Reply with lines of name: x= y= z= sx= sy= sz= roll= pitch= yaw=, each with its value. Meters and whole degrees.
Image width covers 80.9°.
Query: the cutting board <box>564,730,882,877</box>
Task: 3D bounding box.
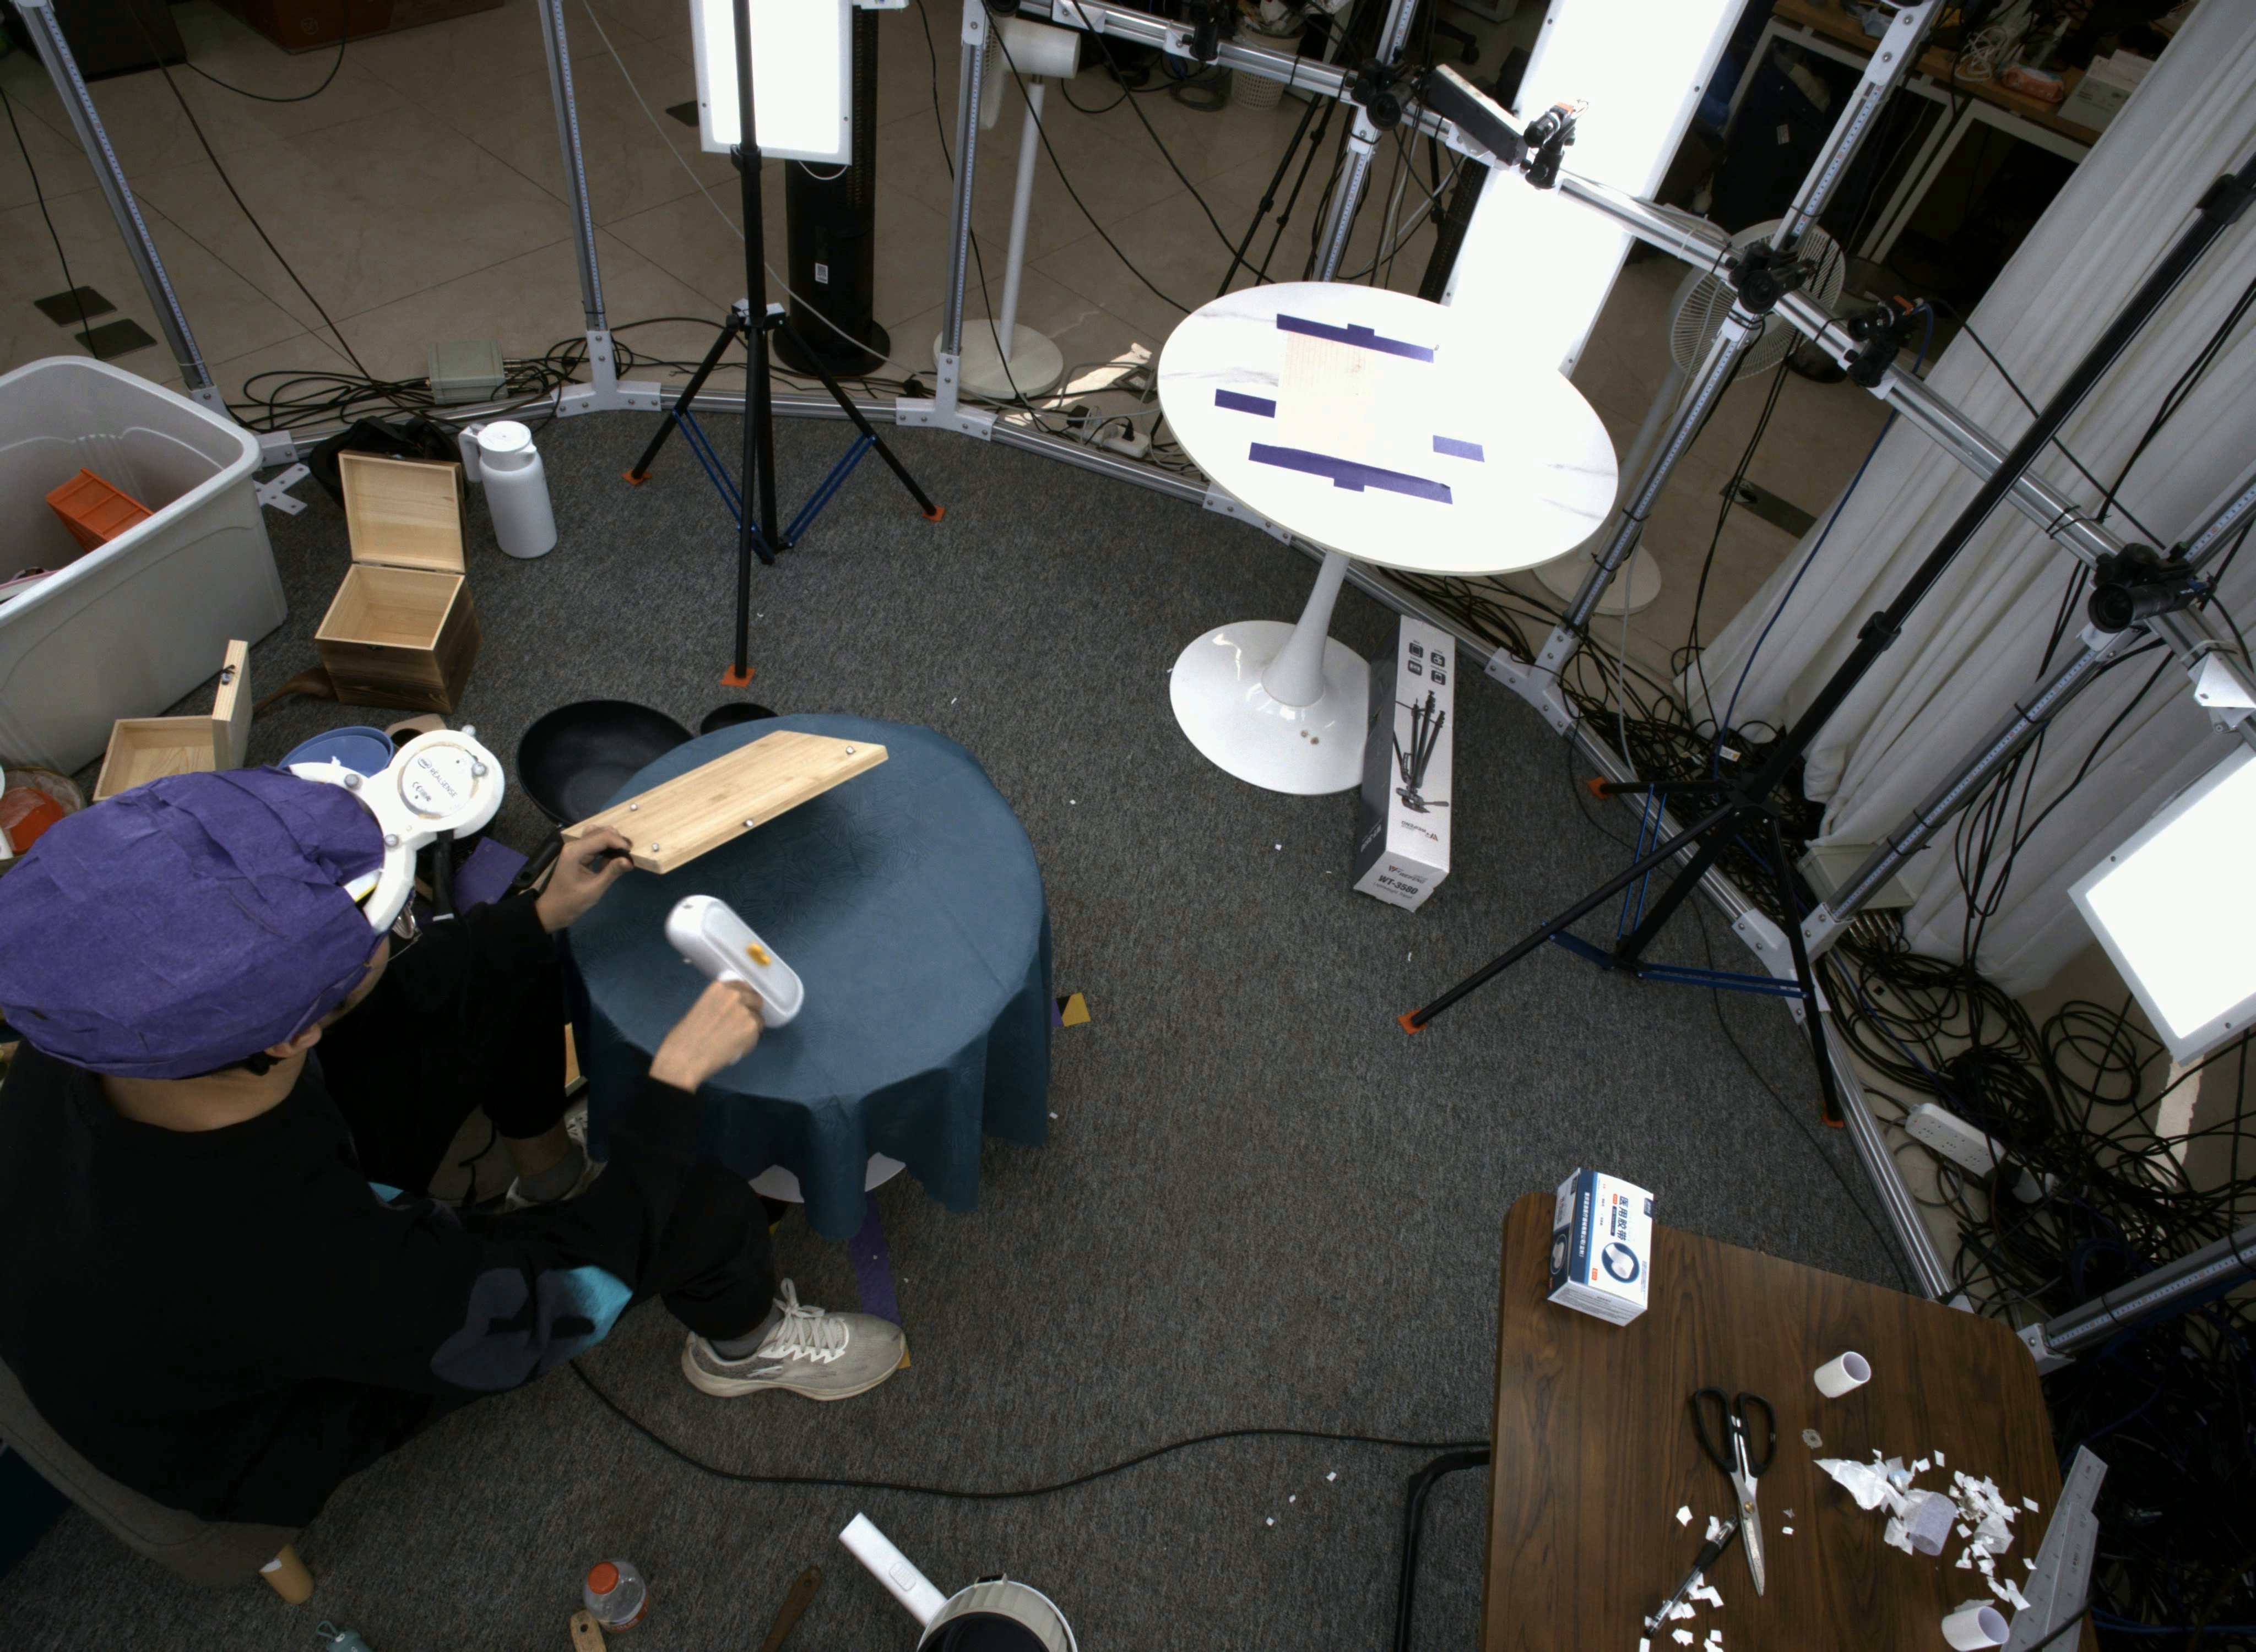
cutting board: x=-0.508 y=-0.038 z=1.613 sx=0.241 sy=0.024 sz=0.350 roll=9 pitch=31 yaw=40

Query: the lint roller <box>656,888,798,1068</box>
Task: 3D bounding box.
lint roller: x=-0.444 y=0.183 z=1.421 sx=0.073 sy=0.200 sz=0.188 roll=-20 pitch=43 yaw=17
